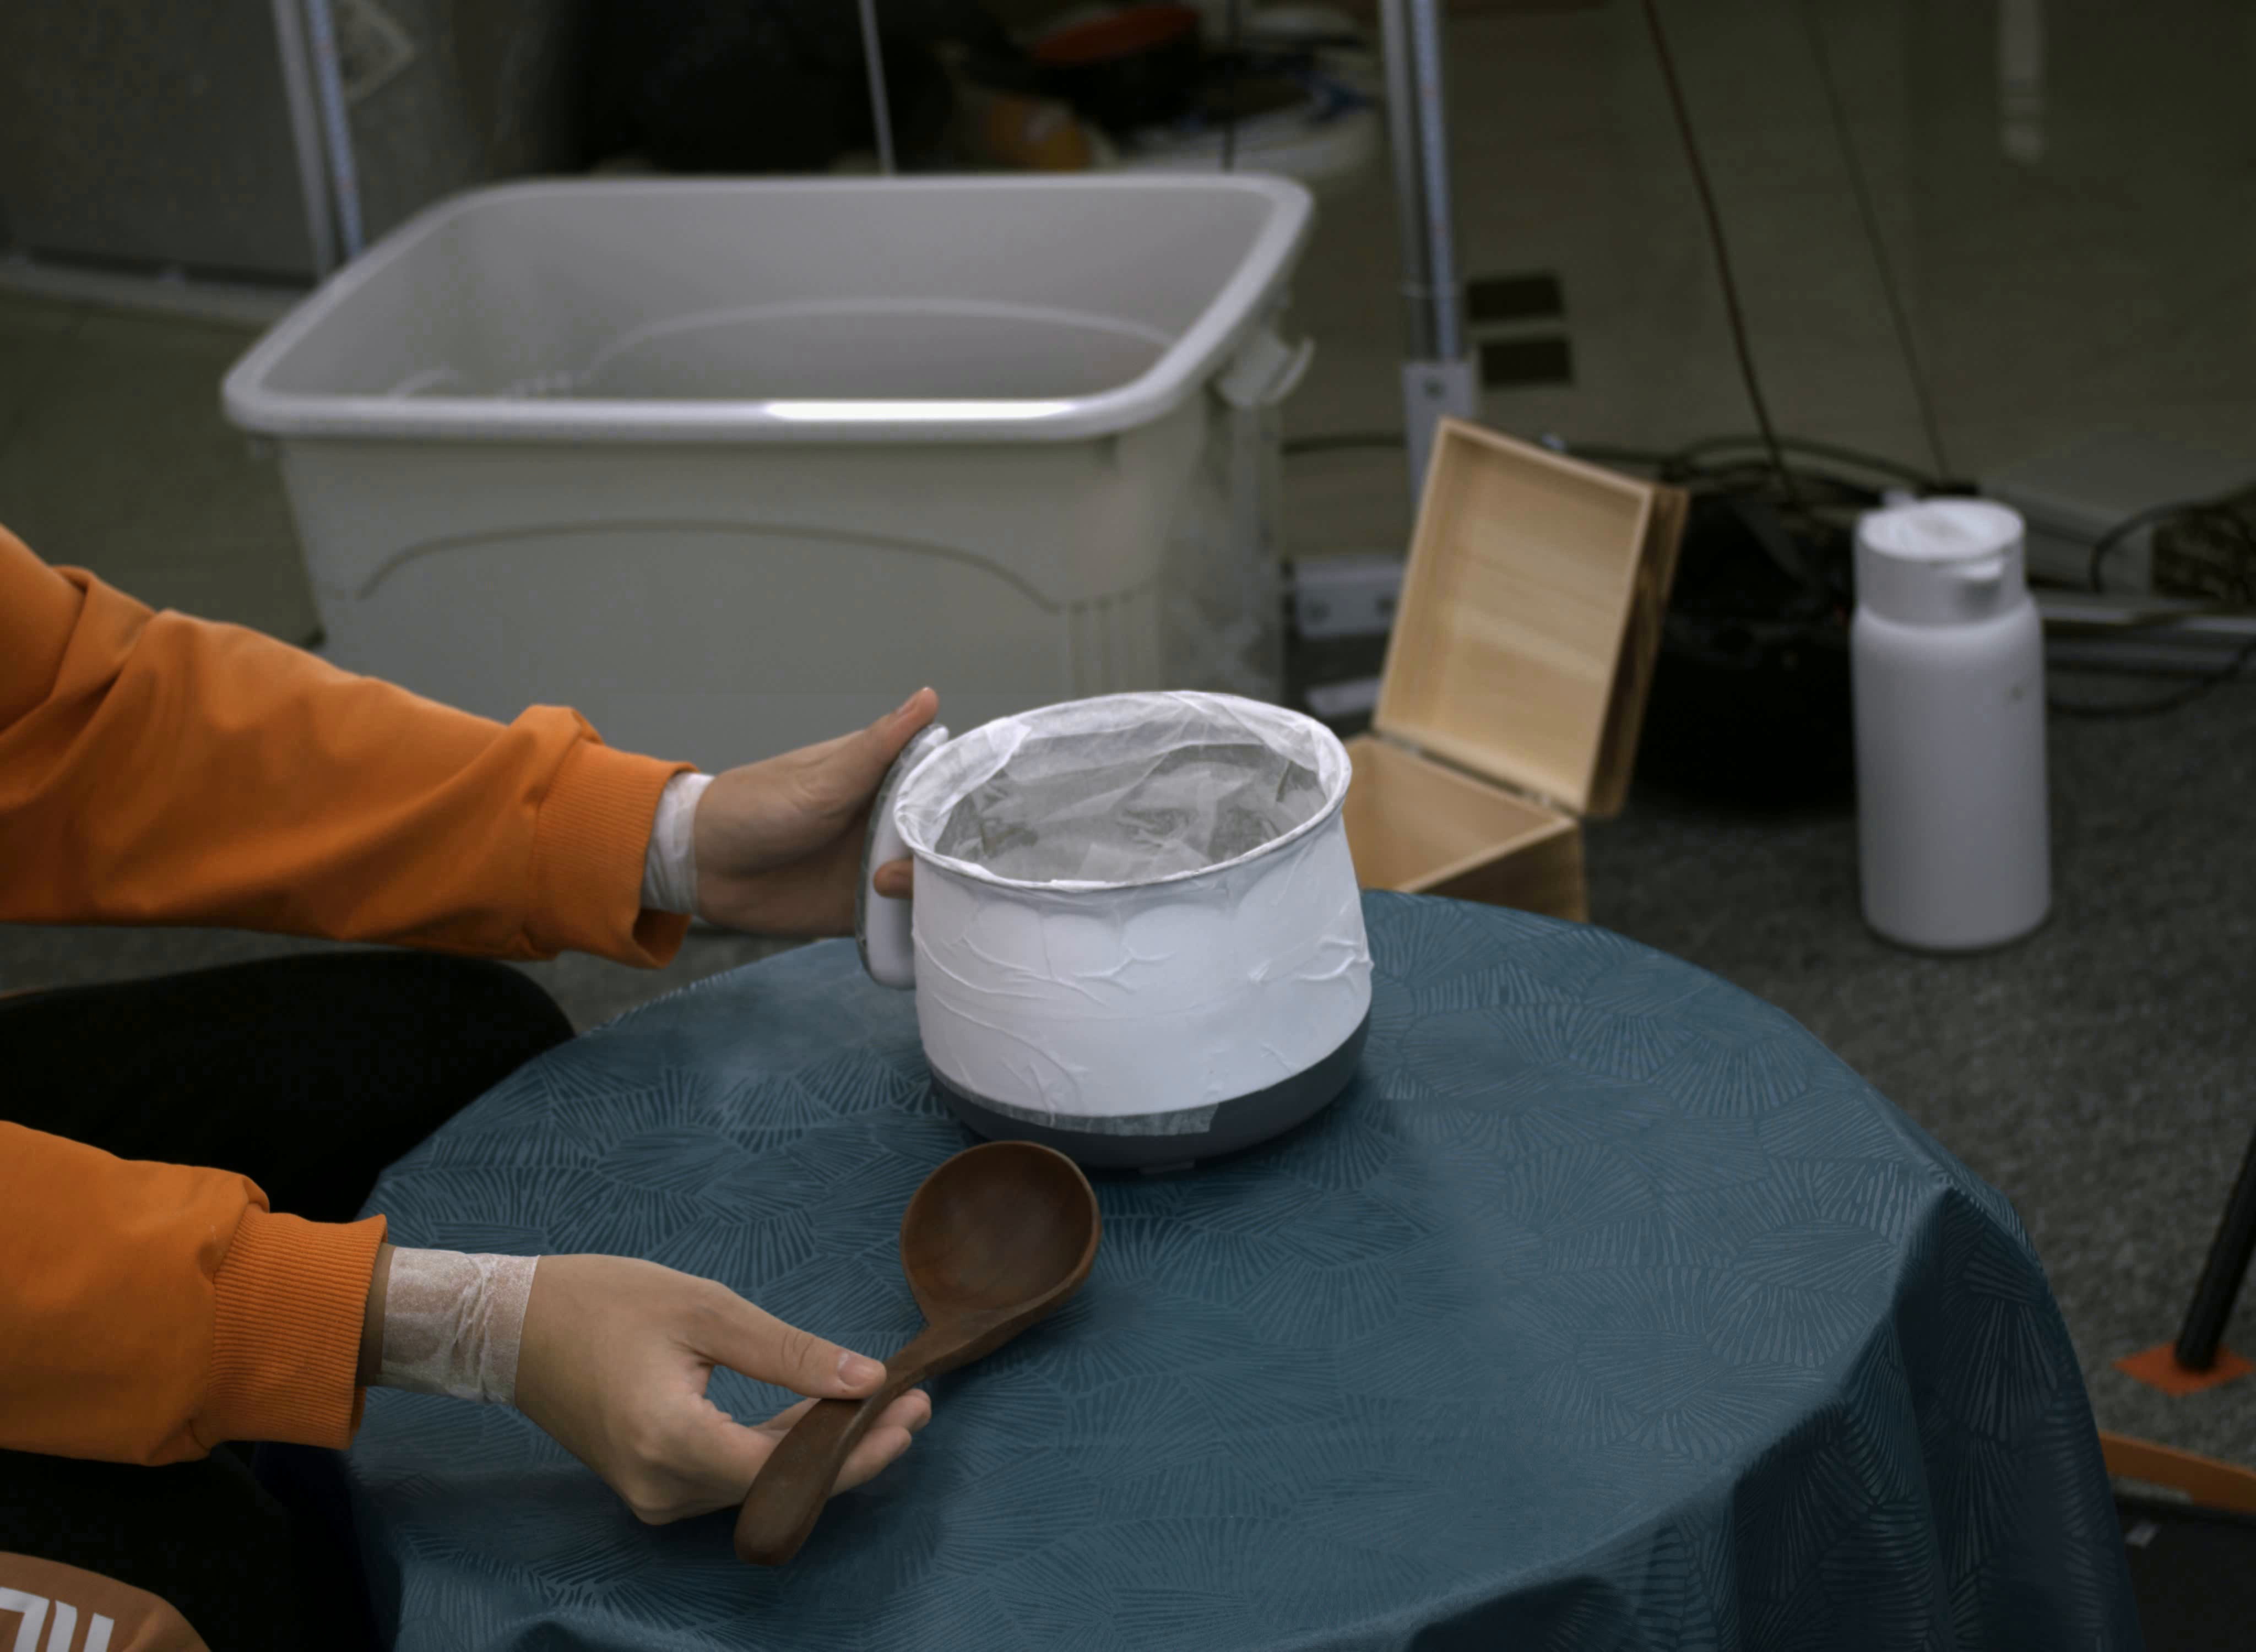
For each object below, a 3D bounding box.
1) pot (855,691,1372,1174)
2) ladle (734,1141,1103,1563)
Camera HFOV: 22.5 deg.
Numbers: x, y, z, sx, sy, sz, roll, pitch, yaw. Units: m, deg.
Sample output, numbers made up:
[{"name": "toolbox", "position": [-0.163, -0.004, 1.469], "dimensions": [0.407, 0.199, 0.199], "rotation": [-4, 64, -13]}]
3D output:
[{"name": "pot", "position": [-0.017, 0.036, 2.206], "dimensions": [0.232, 0.139, 0.177], "rotation": [15, 32, 37]}, {"name": "ladle", "position": [-0.080, 0.179, 1.980], "dimensions": [0.076, 0.066, 0.258], "rotation": [2, 17, 21]}]
